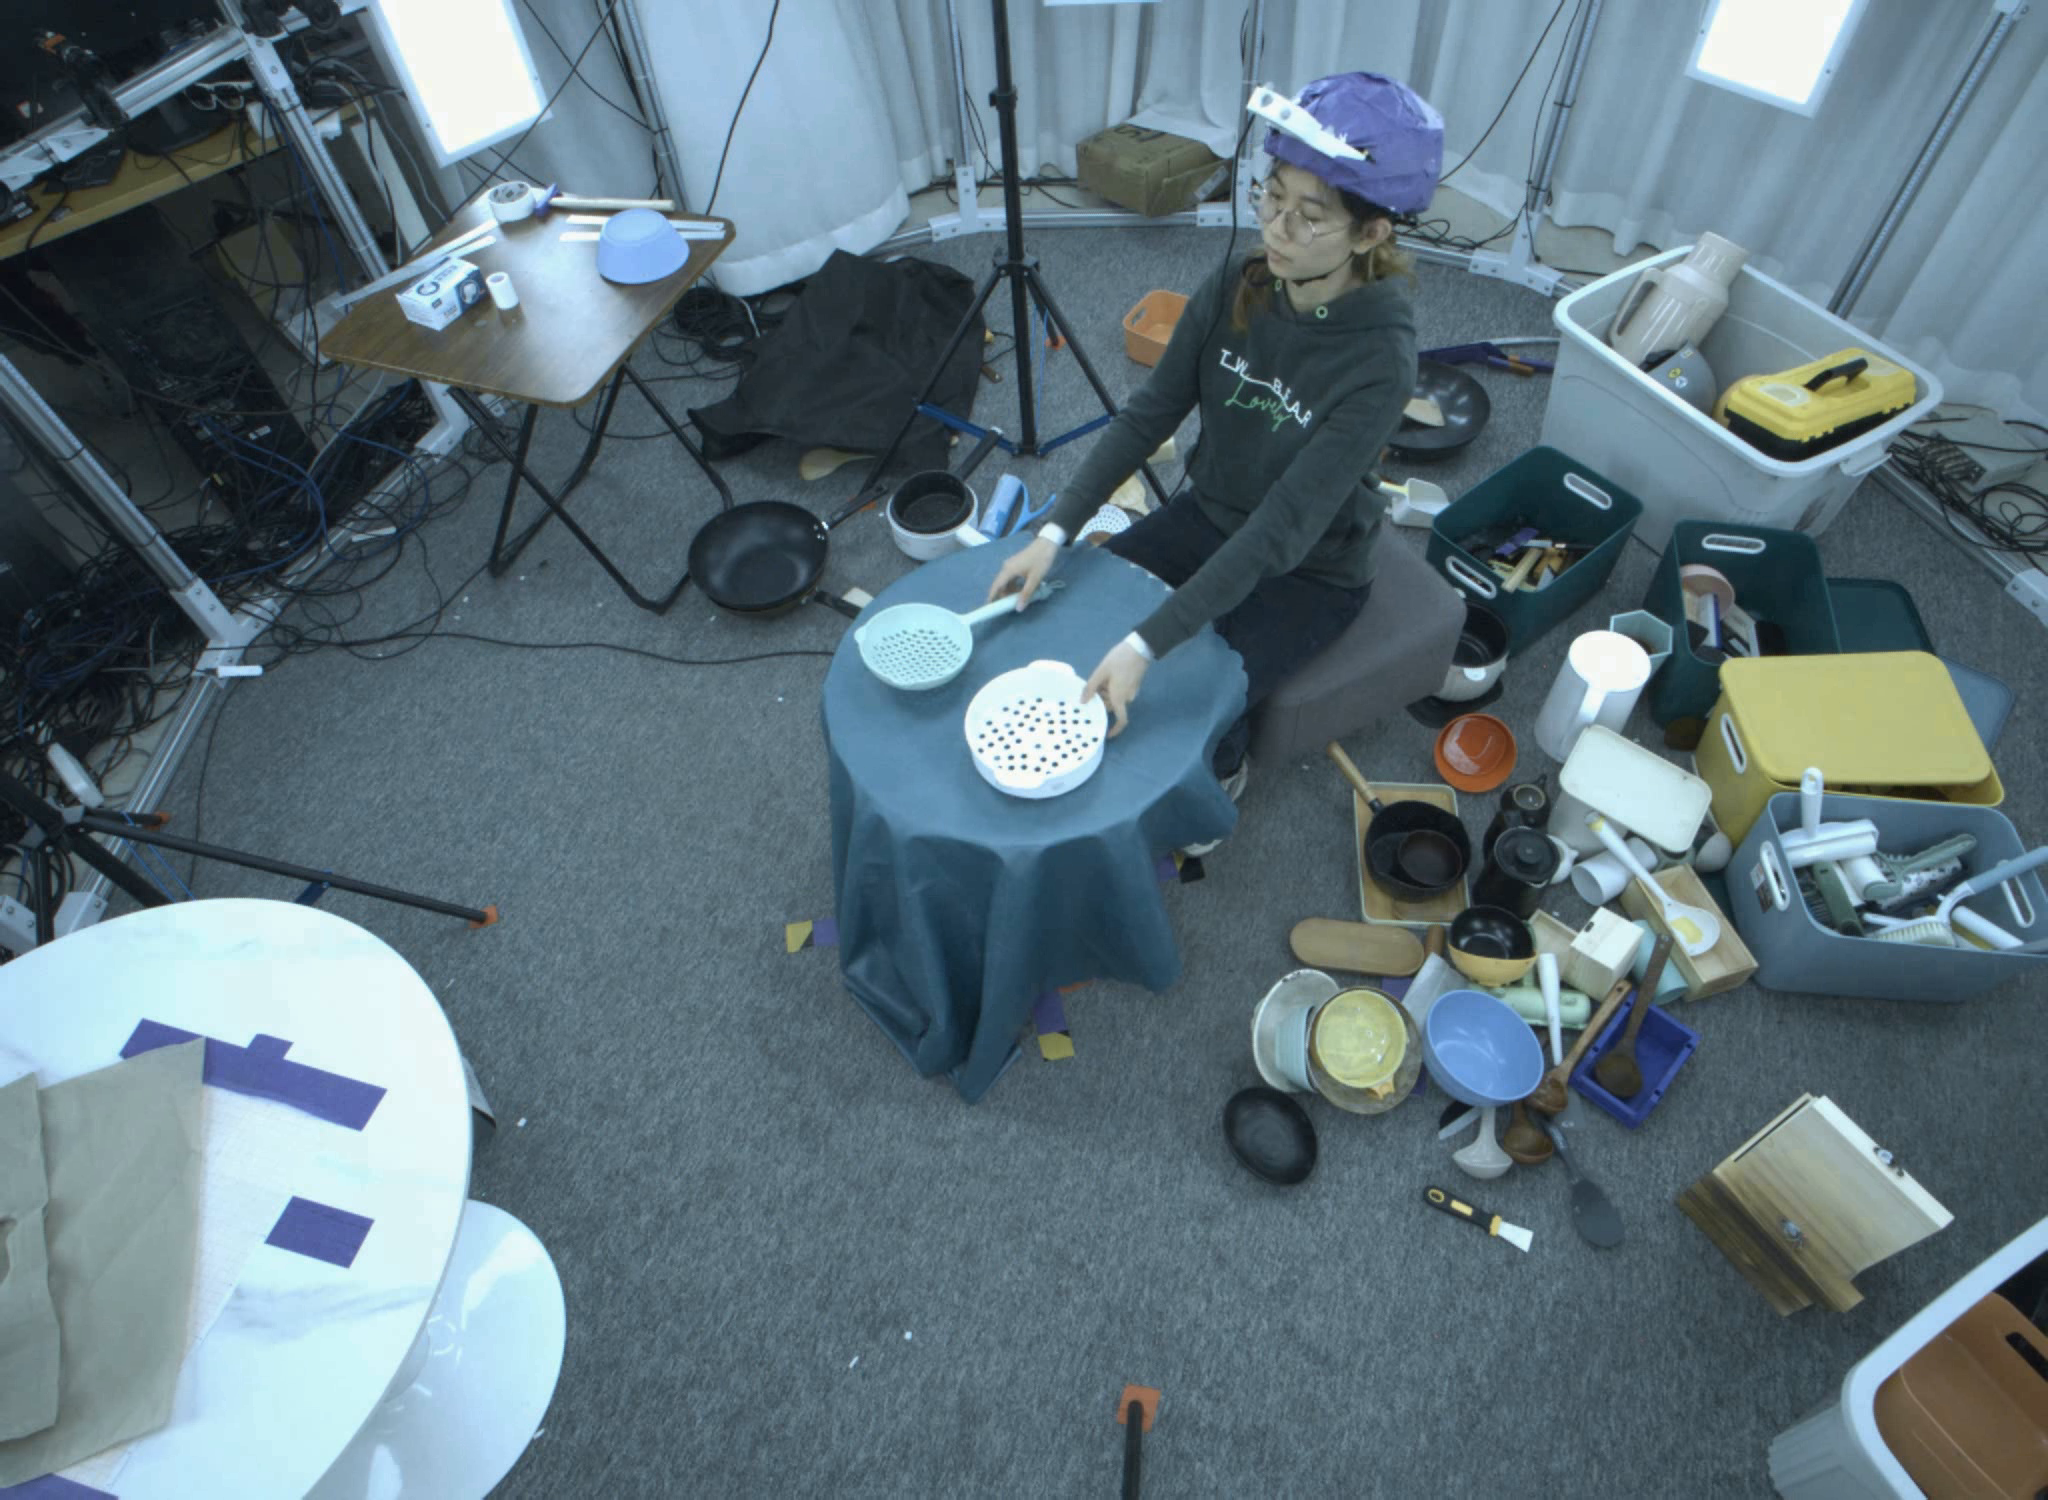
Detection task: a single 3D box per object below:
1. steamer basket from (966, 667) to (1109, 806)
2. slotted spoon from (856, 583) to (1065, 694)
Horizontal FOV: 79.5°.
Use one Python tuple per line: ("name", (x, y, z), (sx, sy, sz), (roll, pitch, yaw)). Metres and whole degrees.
("steamer basket", (0.020, -0.014, 1.767), (0.201, 0.070, 0.229), (9, 56, 8))
("slotted spoon", (-0.083, -0.192, 1.895), (0.361, 0.076, 0.166), (-32, 60, -19))
